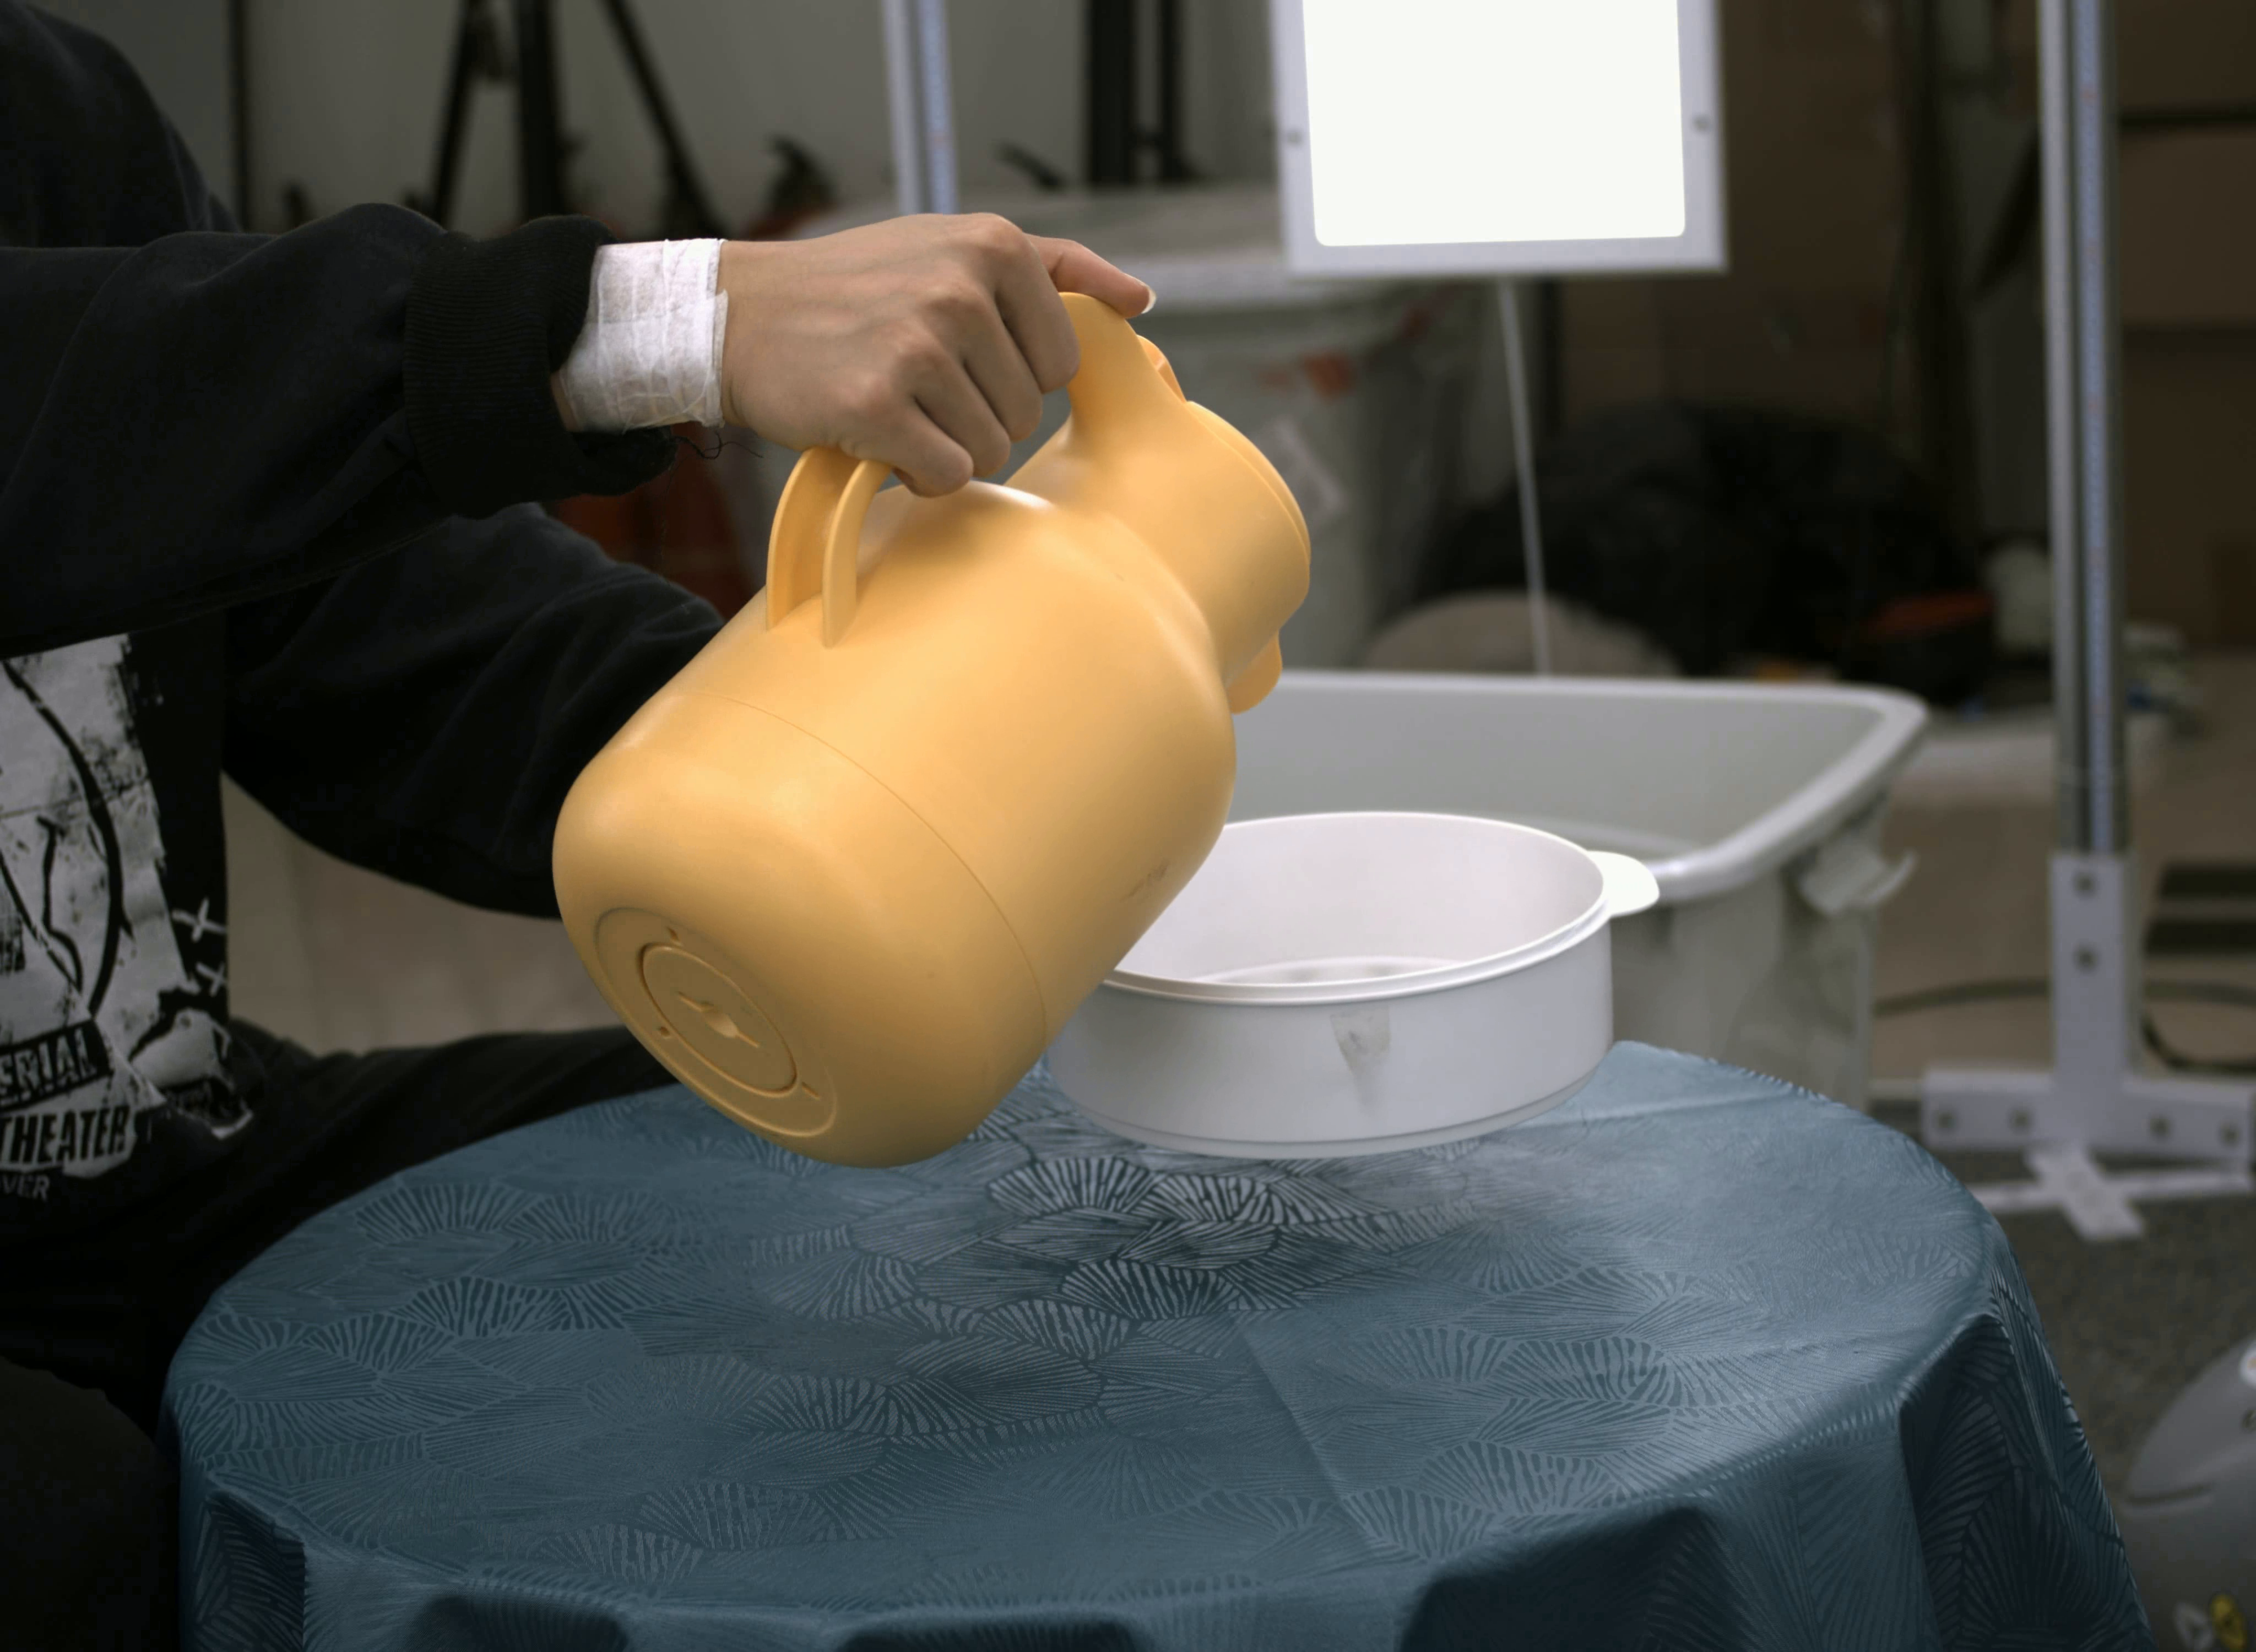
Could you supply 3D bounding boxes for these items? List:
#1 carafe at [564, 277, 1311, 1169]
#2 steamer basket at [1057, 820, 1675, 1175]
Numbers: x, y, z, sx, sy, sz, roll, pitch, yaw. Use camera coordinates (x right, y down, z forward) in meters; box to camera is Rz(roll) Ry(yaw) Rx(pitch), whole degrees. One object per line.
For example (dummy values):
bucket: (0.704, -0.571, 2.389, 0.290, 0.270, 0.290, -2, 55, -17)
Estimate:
carafe: (-0.055, -0.041, 1.708, 0.167, 0.201, 0.256, 12, 51, 41)
steamer basket: (0.073, 0.058, 1.871, 0.230, 0.069, 0.202, -6, 17, -1)
